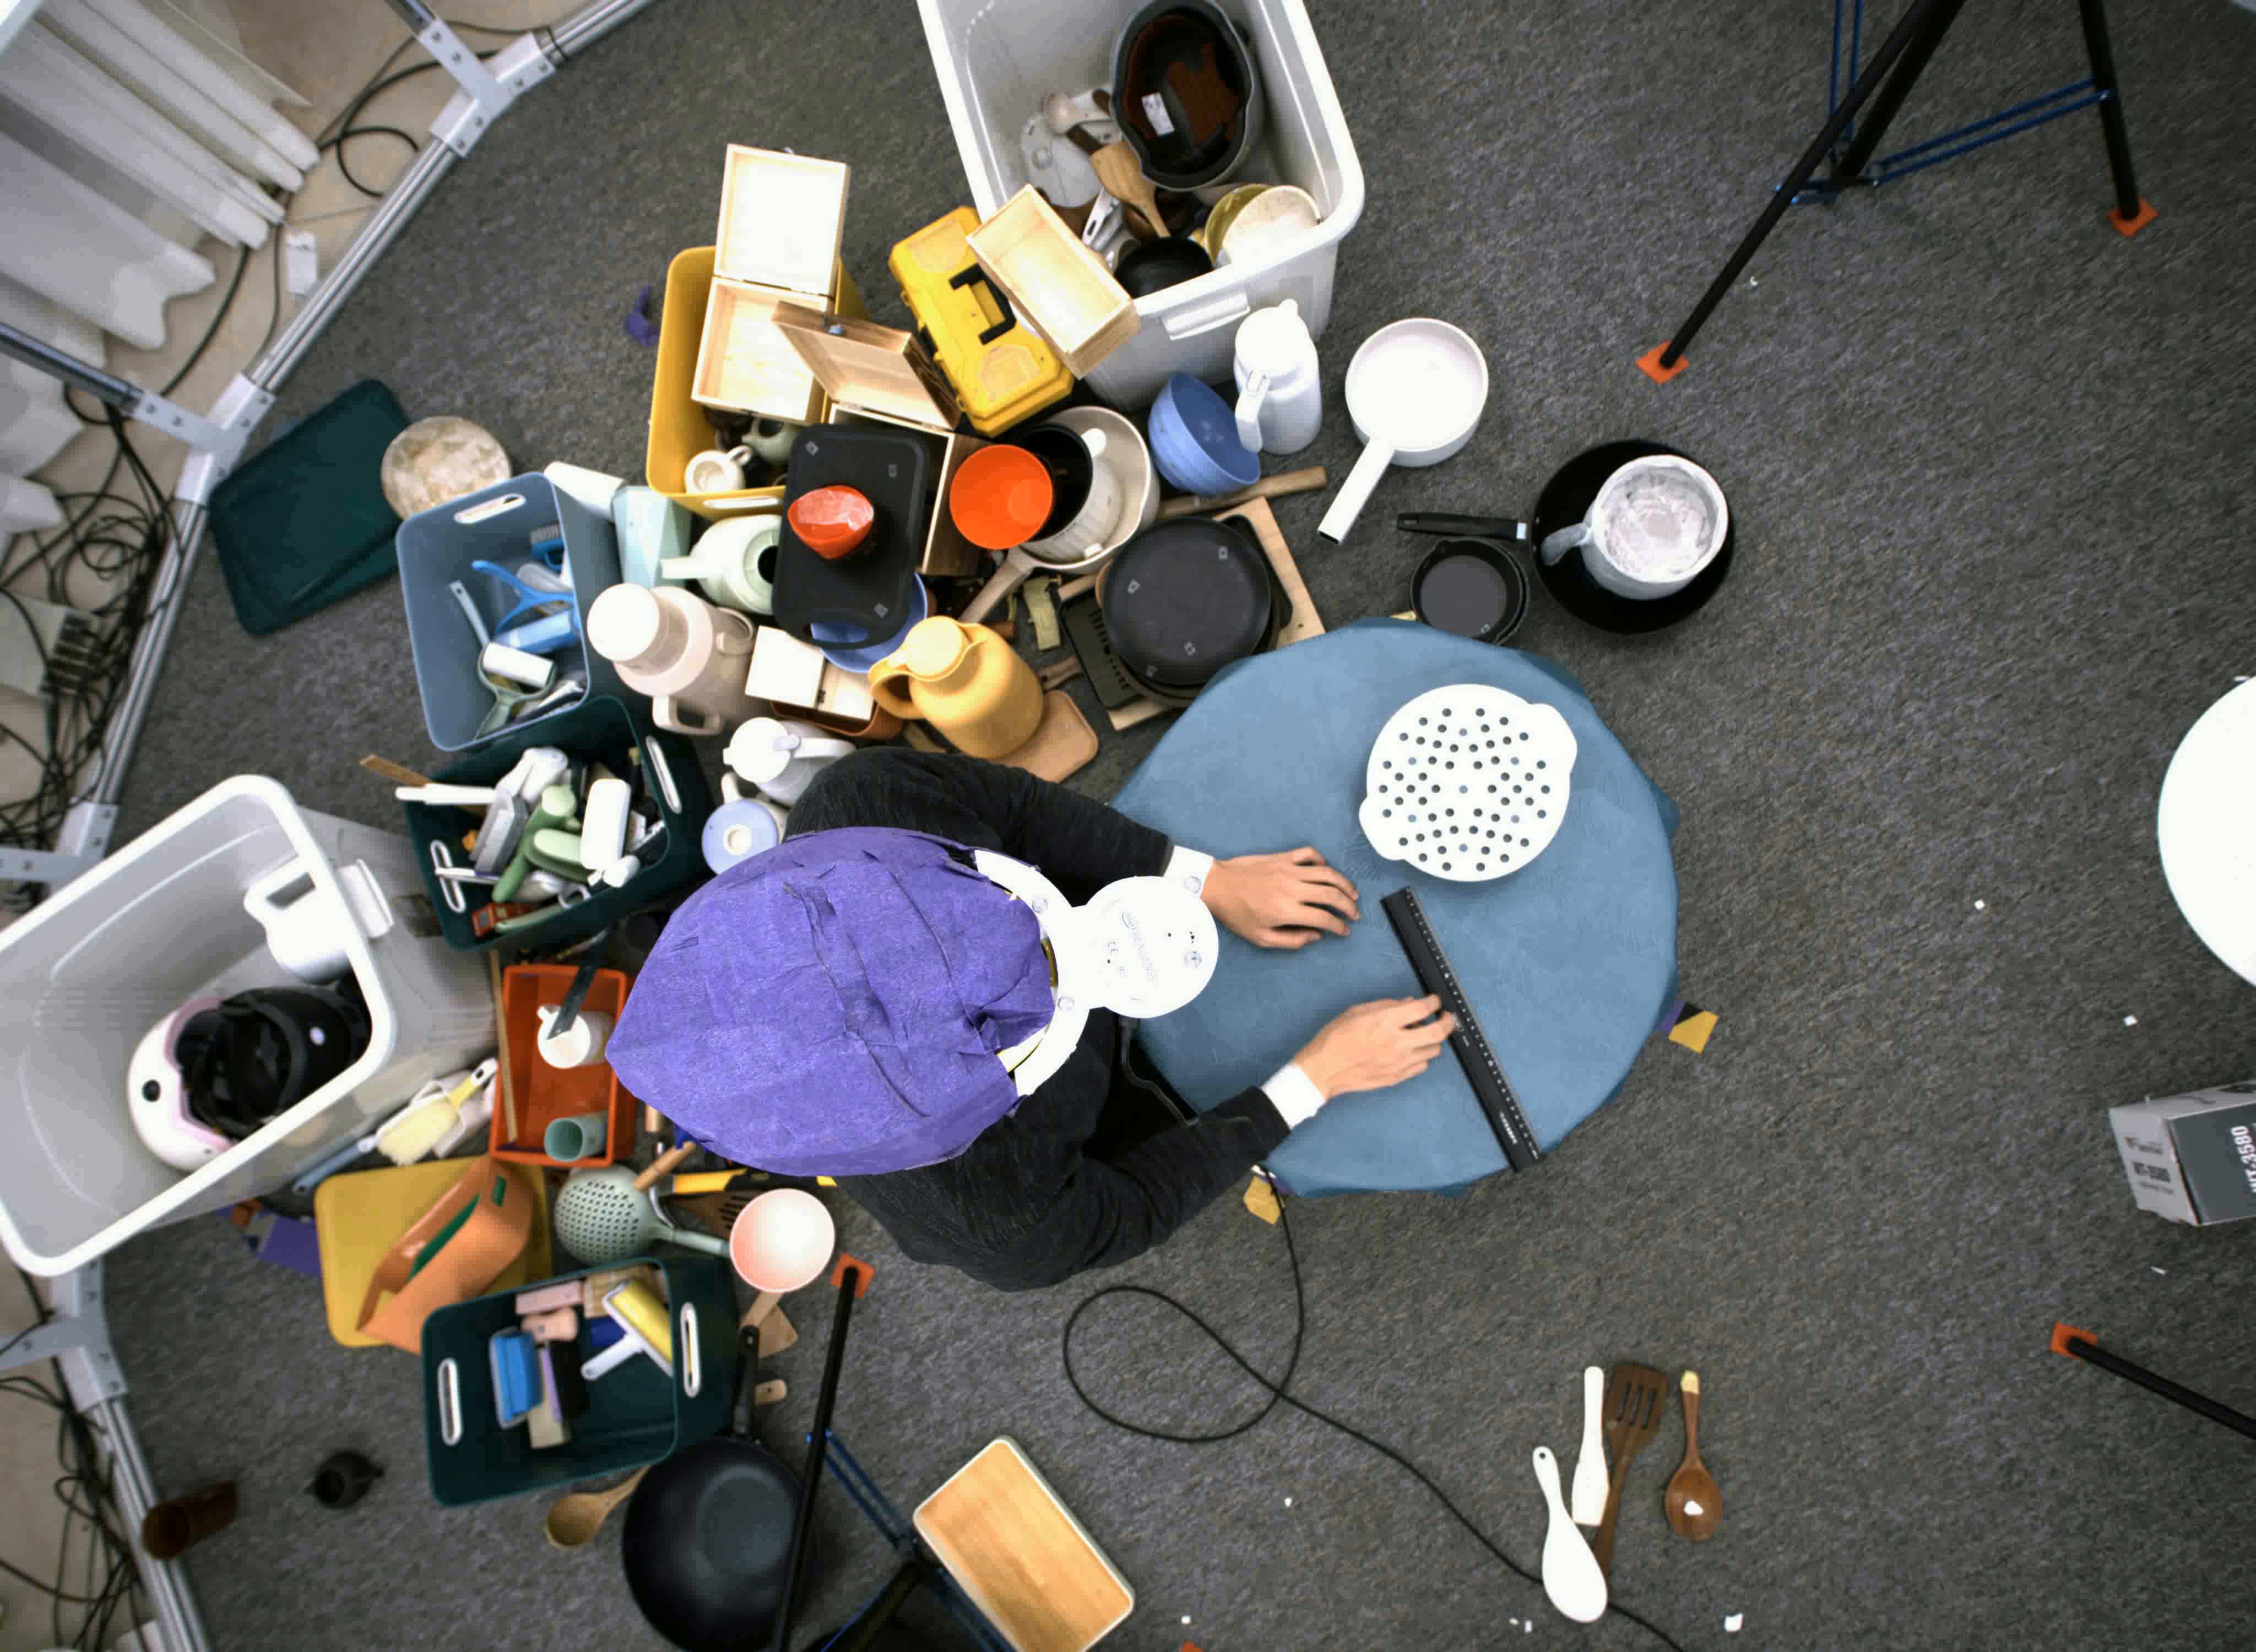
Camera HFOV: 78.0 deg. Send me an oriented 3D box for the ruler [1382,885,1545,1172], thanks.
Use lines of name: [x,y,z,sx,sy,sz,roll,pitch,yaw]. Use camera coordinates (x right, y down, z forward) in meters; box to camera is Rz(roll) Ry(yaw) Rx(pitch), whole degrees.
ruler: [0.348,0.206,1.430,0.039,0.017,0.310,-25,82,4]

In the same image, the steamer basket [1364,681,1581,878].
steamer basket: [0.352,-0.047,1.417,0.231,0.069,0.200,-30,82,5]
